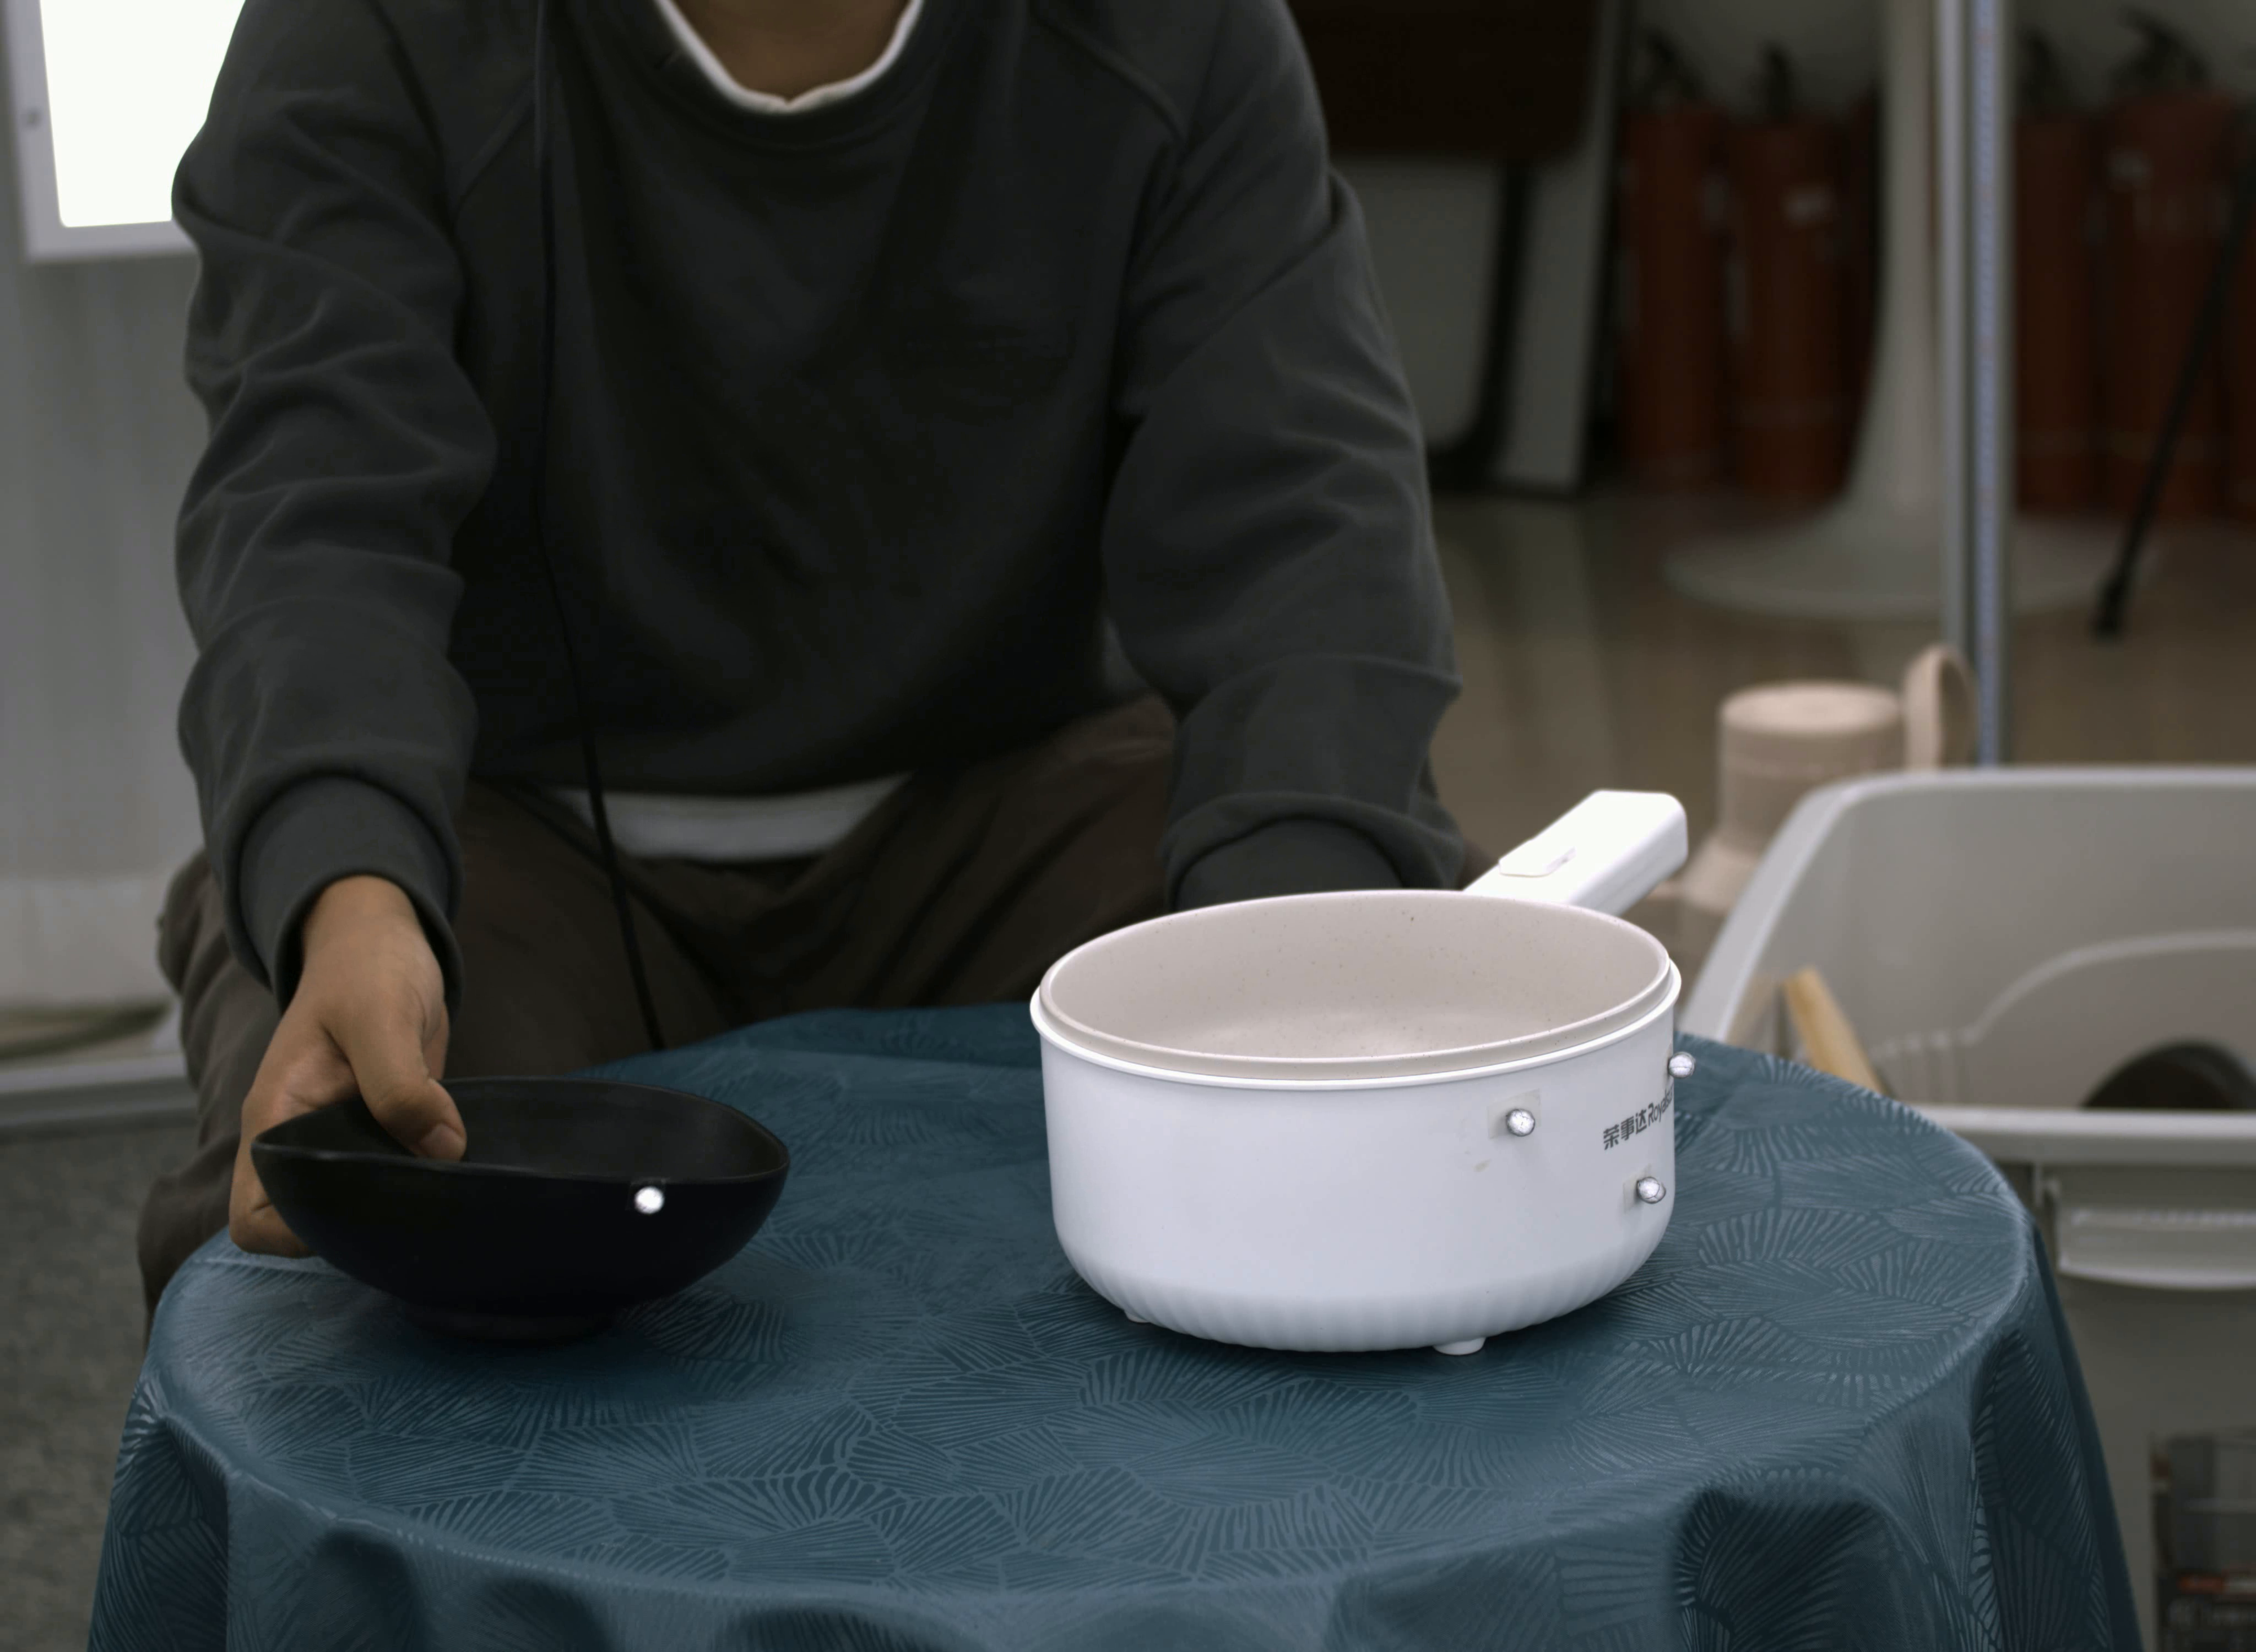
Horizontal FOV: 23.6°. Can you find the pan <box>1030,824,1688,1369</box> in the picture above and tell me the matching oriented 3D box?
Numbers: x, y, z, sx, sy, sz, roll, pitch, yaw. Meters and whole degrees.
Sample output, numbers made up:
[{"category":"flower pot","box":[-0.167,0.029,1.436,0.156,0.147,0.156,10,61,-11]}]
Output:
[{"category":"pan","box":[0.105,0.083,1.726,0.201,0.103,0.350,-1,11,26]}]

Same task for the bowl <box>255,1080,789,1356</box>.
[{"category":"bowl","box":[-0.188,0.124,1.666,0.169,0.067,0.136,3,9,11]}]
